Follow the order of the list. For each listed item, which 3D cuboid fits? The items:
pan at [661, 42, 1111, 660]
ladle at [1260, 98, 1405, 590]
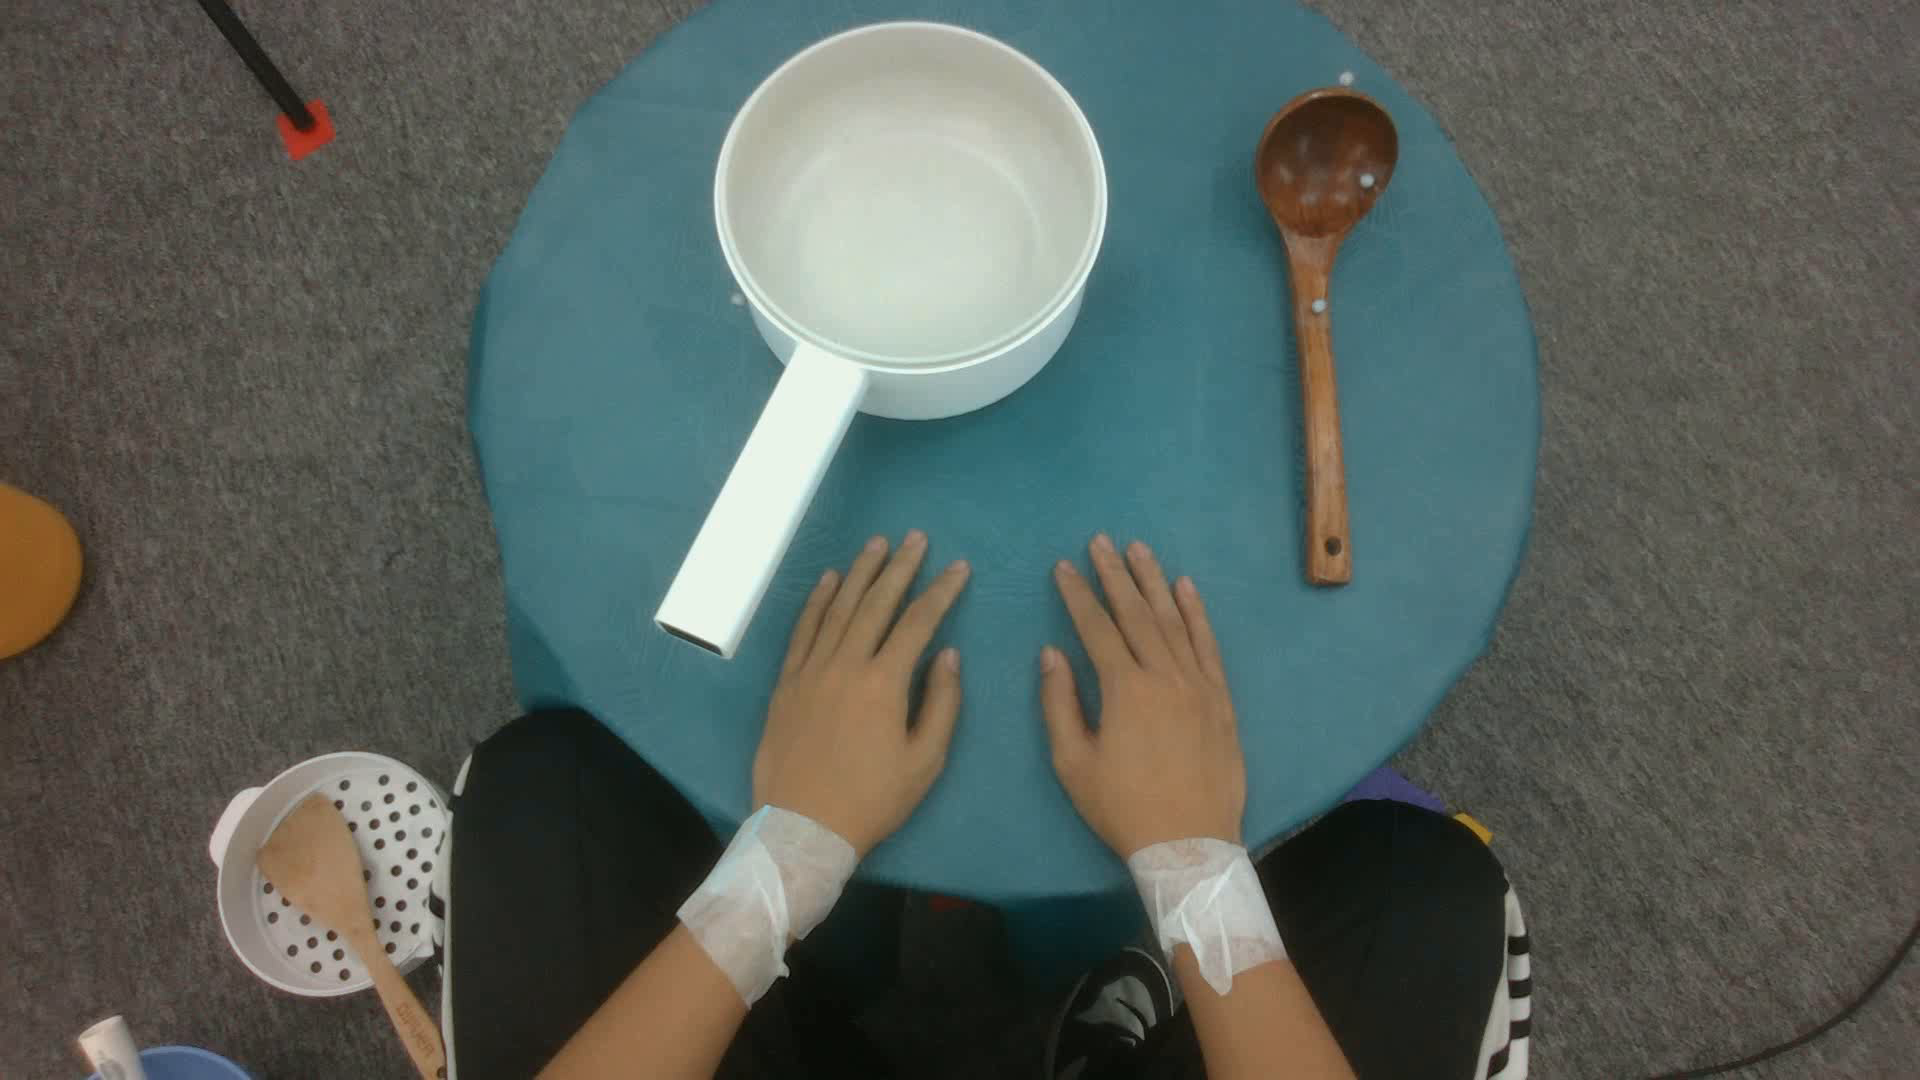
[{"bbox_3d":[-0.052,-0.095,0.744,0.201,0.102,0.356,23,75,6],"label":"pan"},{"bbox_3d":[0.208,-0.113,0.760,0.082,0.076,0.275,4,71,-1],"label":"ladle"}]
